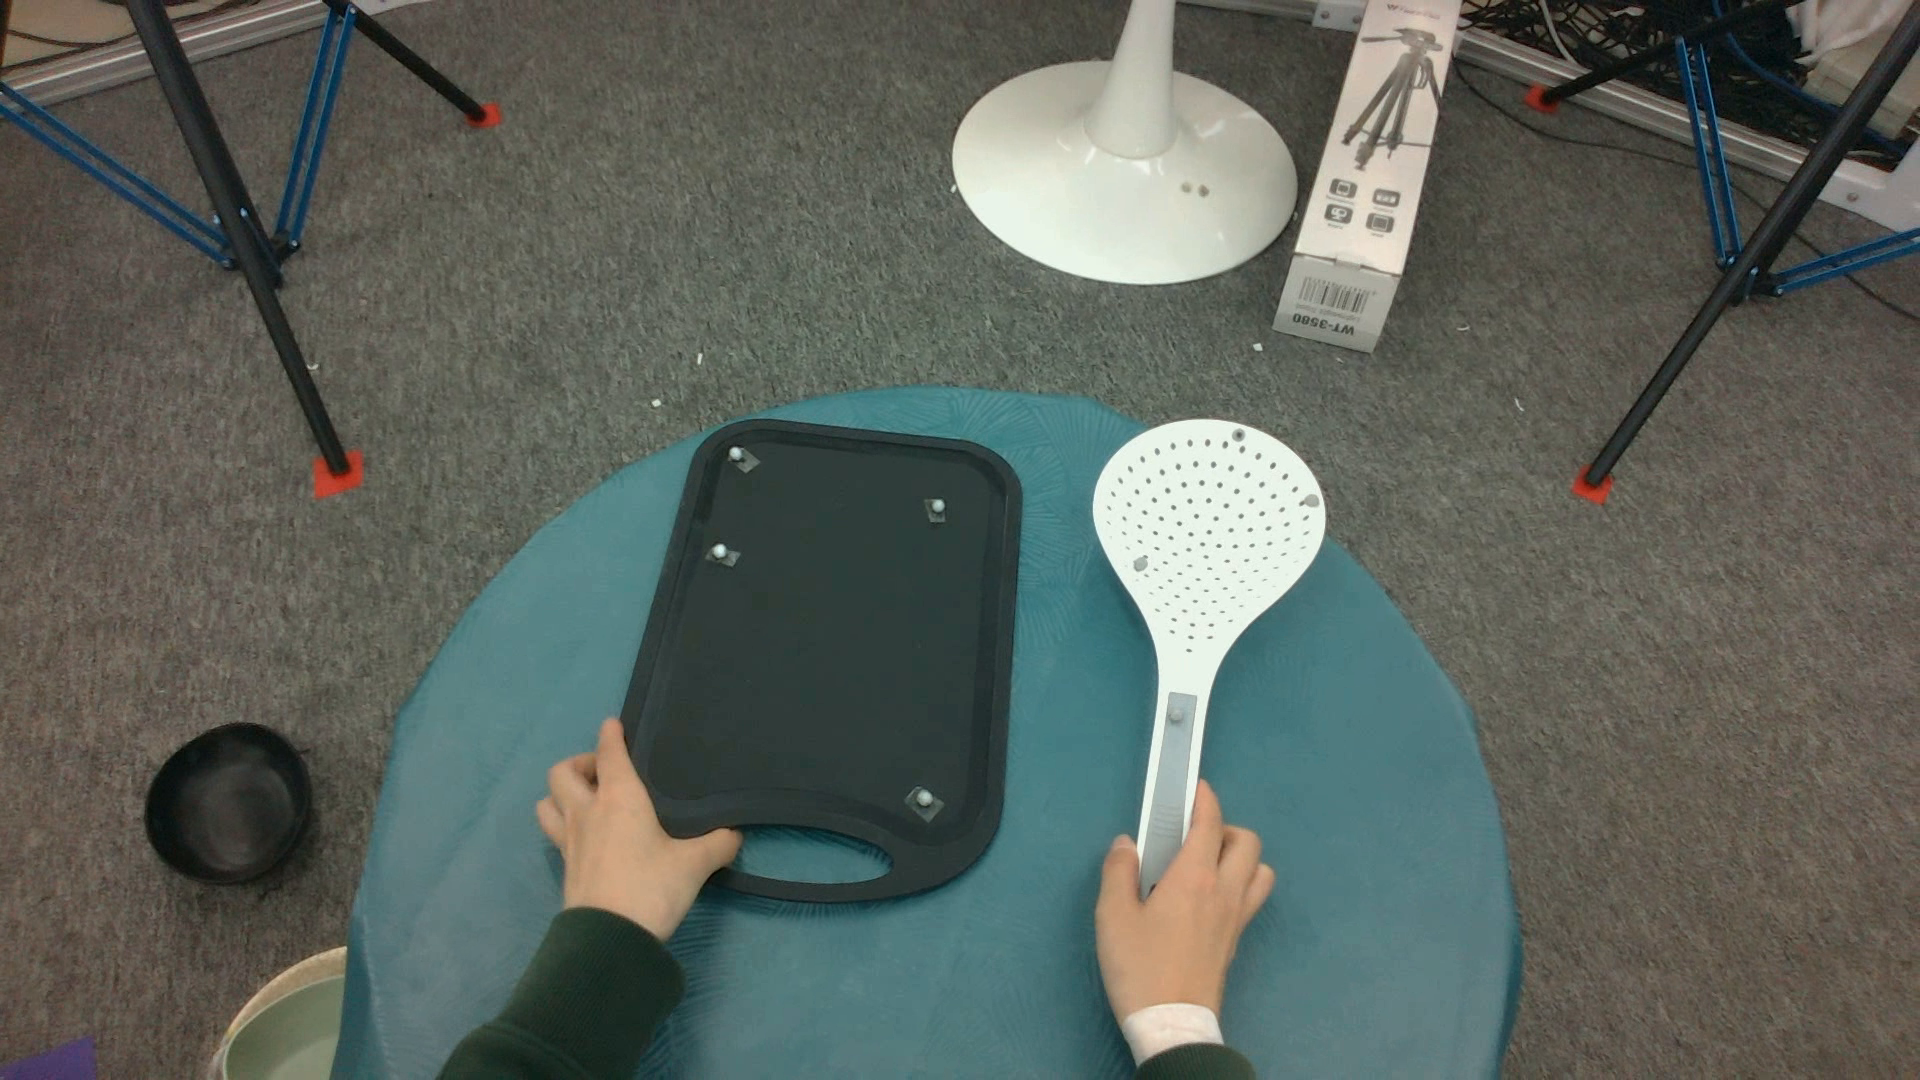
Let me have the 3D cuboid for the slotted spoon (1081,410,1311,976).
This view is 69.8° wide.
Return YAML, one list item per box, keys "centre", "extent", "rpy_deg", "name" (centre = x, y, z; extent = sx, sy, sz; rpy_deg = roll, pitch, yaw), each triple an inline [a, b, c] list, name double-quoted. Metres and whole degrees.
- centre: [0.118, 0.068, 0.768]
  extent: [0.136, 0.045, 0.351]
  rpy_deg: [7, 52, 11]
  name: "slotted spoon"

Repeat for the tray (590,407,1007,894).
- centre: [-0.082, 0.047, 0.787]
  extent: [0.211, 0.010, 0.327]
  rpy_deg: [6, 52, -1]
  name: "tray"
